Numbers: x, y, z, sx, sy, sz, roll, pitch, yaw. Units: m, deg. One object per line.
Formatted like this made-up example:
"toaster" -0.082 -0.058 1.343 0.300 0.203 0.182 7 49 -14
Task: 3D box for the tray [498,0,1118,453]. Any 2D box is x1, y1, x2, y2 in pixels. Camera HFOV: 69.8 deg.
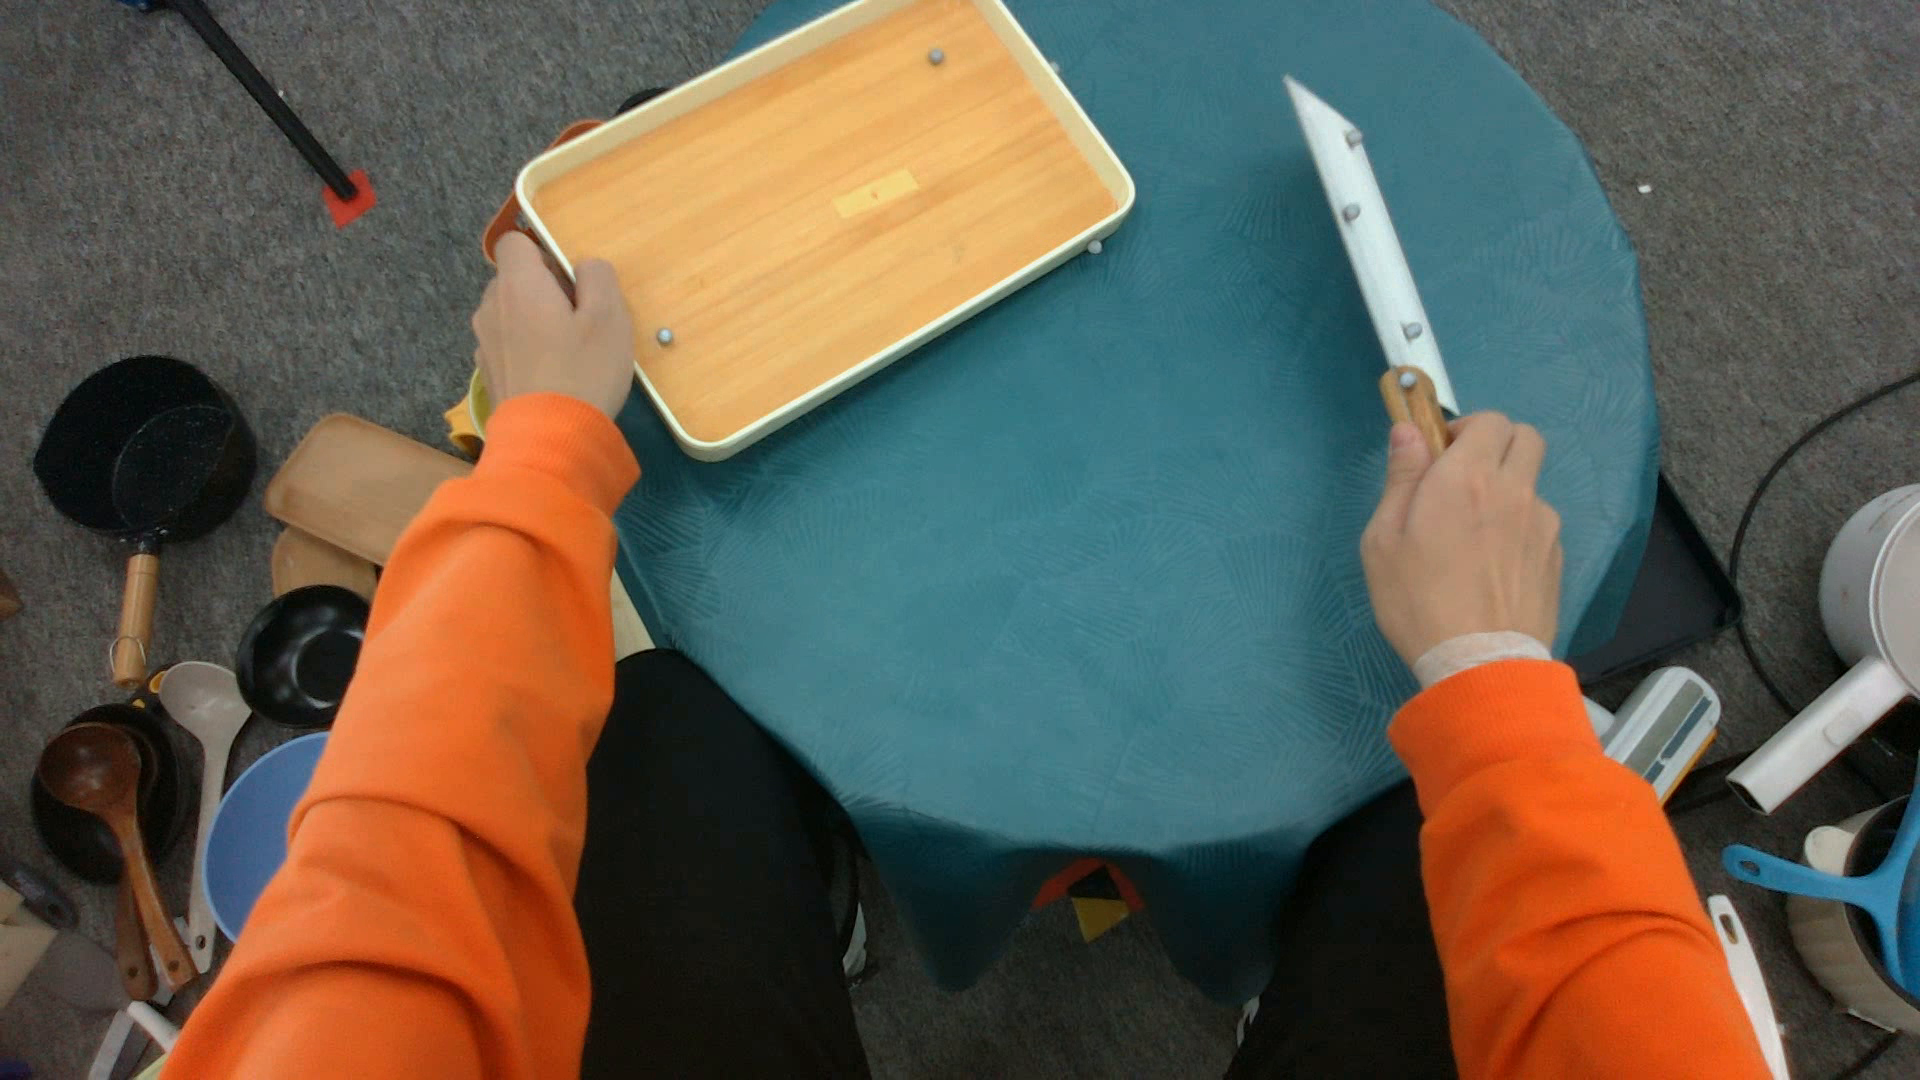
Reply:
"tray" -0.079 -0.195 0.766 0.301 0.027 0.191 -33 82 -17

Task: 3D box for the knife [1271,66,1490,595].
"knife" 0.225 -0.113 0.729 0.021 0.093 0.306 -24 69 31
